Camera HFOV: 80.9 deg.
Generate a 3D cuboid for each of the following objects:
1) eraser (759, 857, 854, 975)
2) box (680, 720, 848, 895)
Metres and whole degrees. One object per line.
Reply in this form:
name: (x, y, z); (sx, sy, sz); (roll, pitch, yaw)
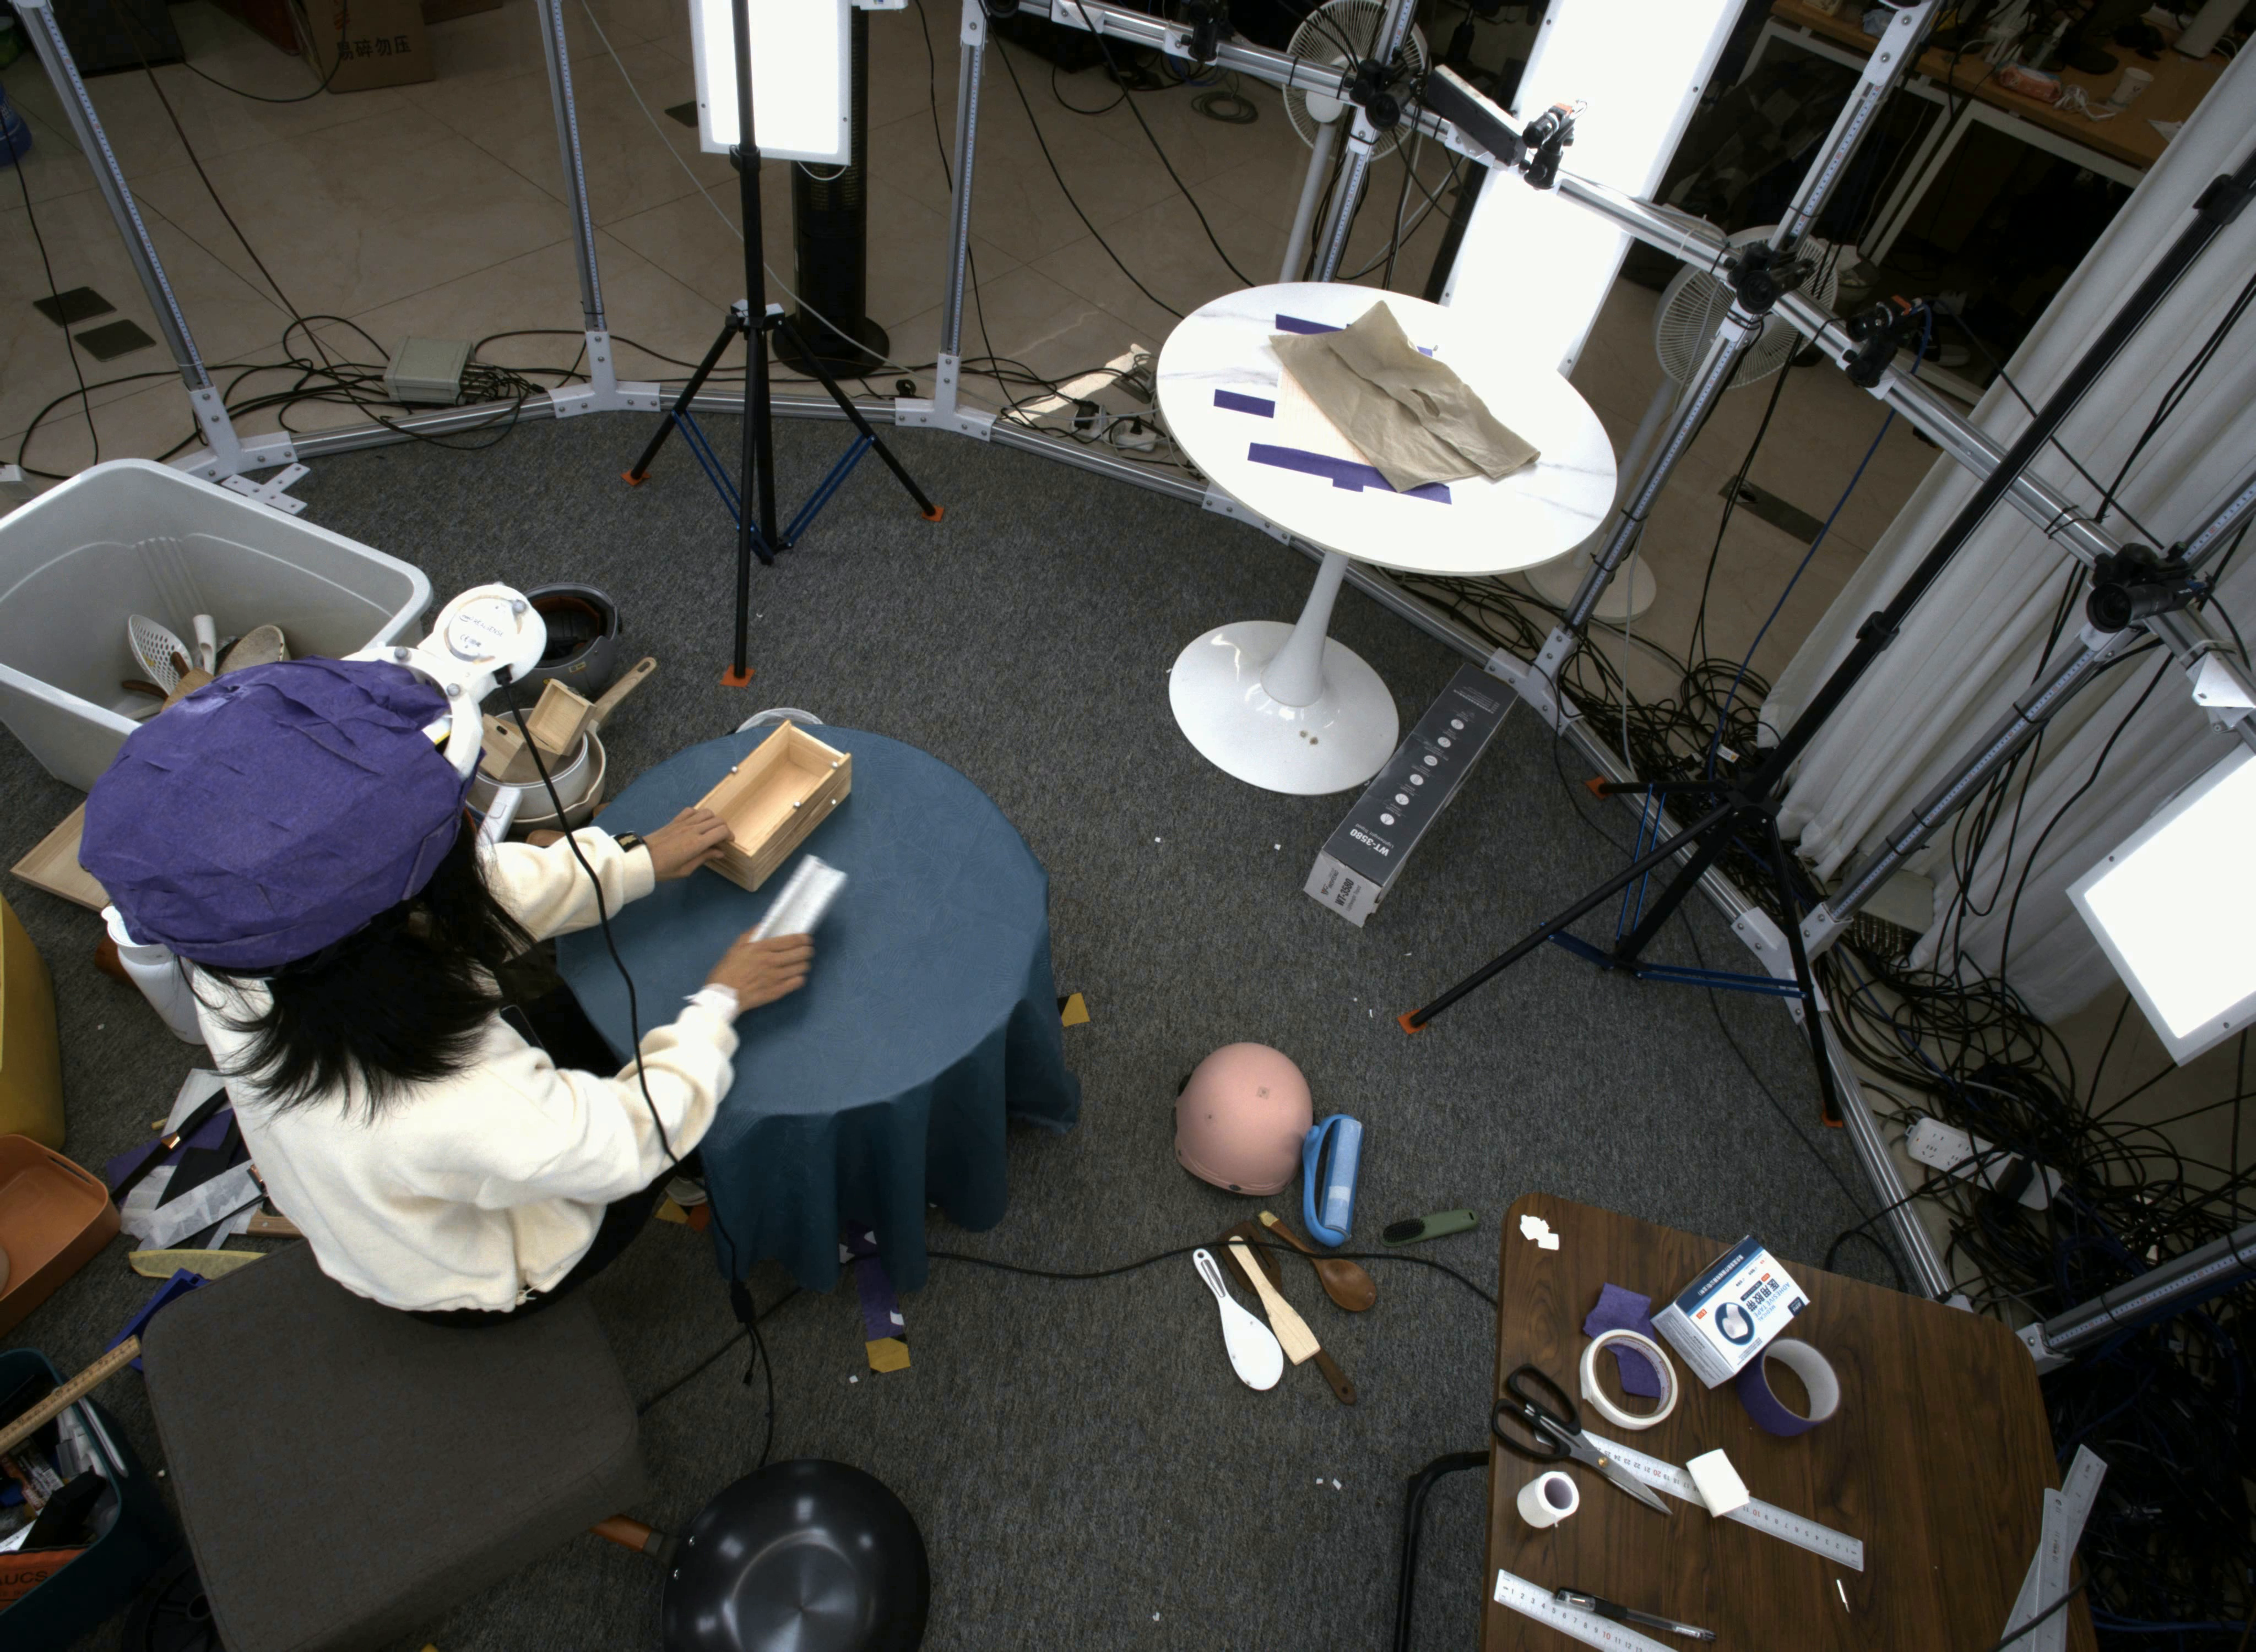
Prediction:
eraser: (-0.389, 0.107, 1.575); (0.049, 0.047, 0.134); (28, 63, 2)
box: (-0.467, -0.028, 1.676); (0.106, 0.082, 0.210); (28, 50, 9)
